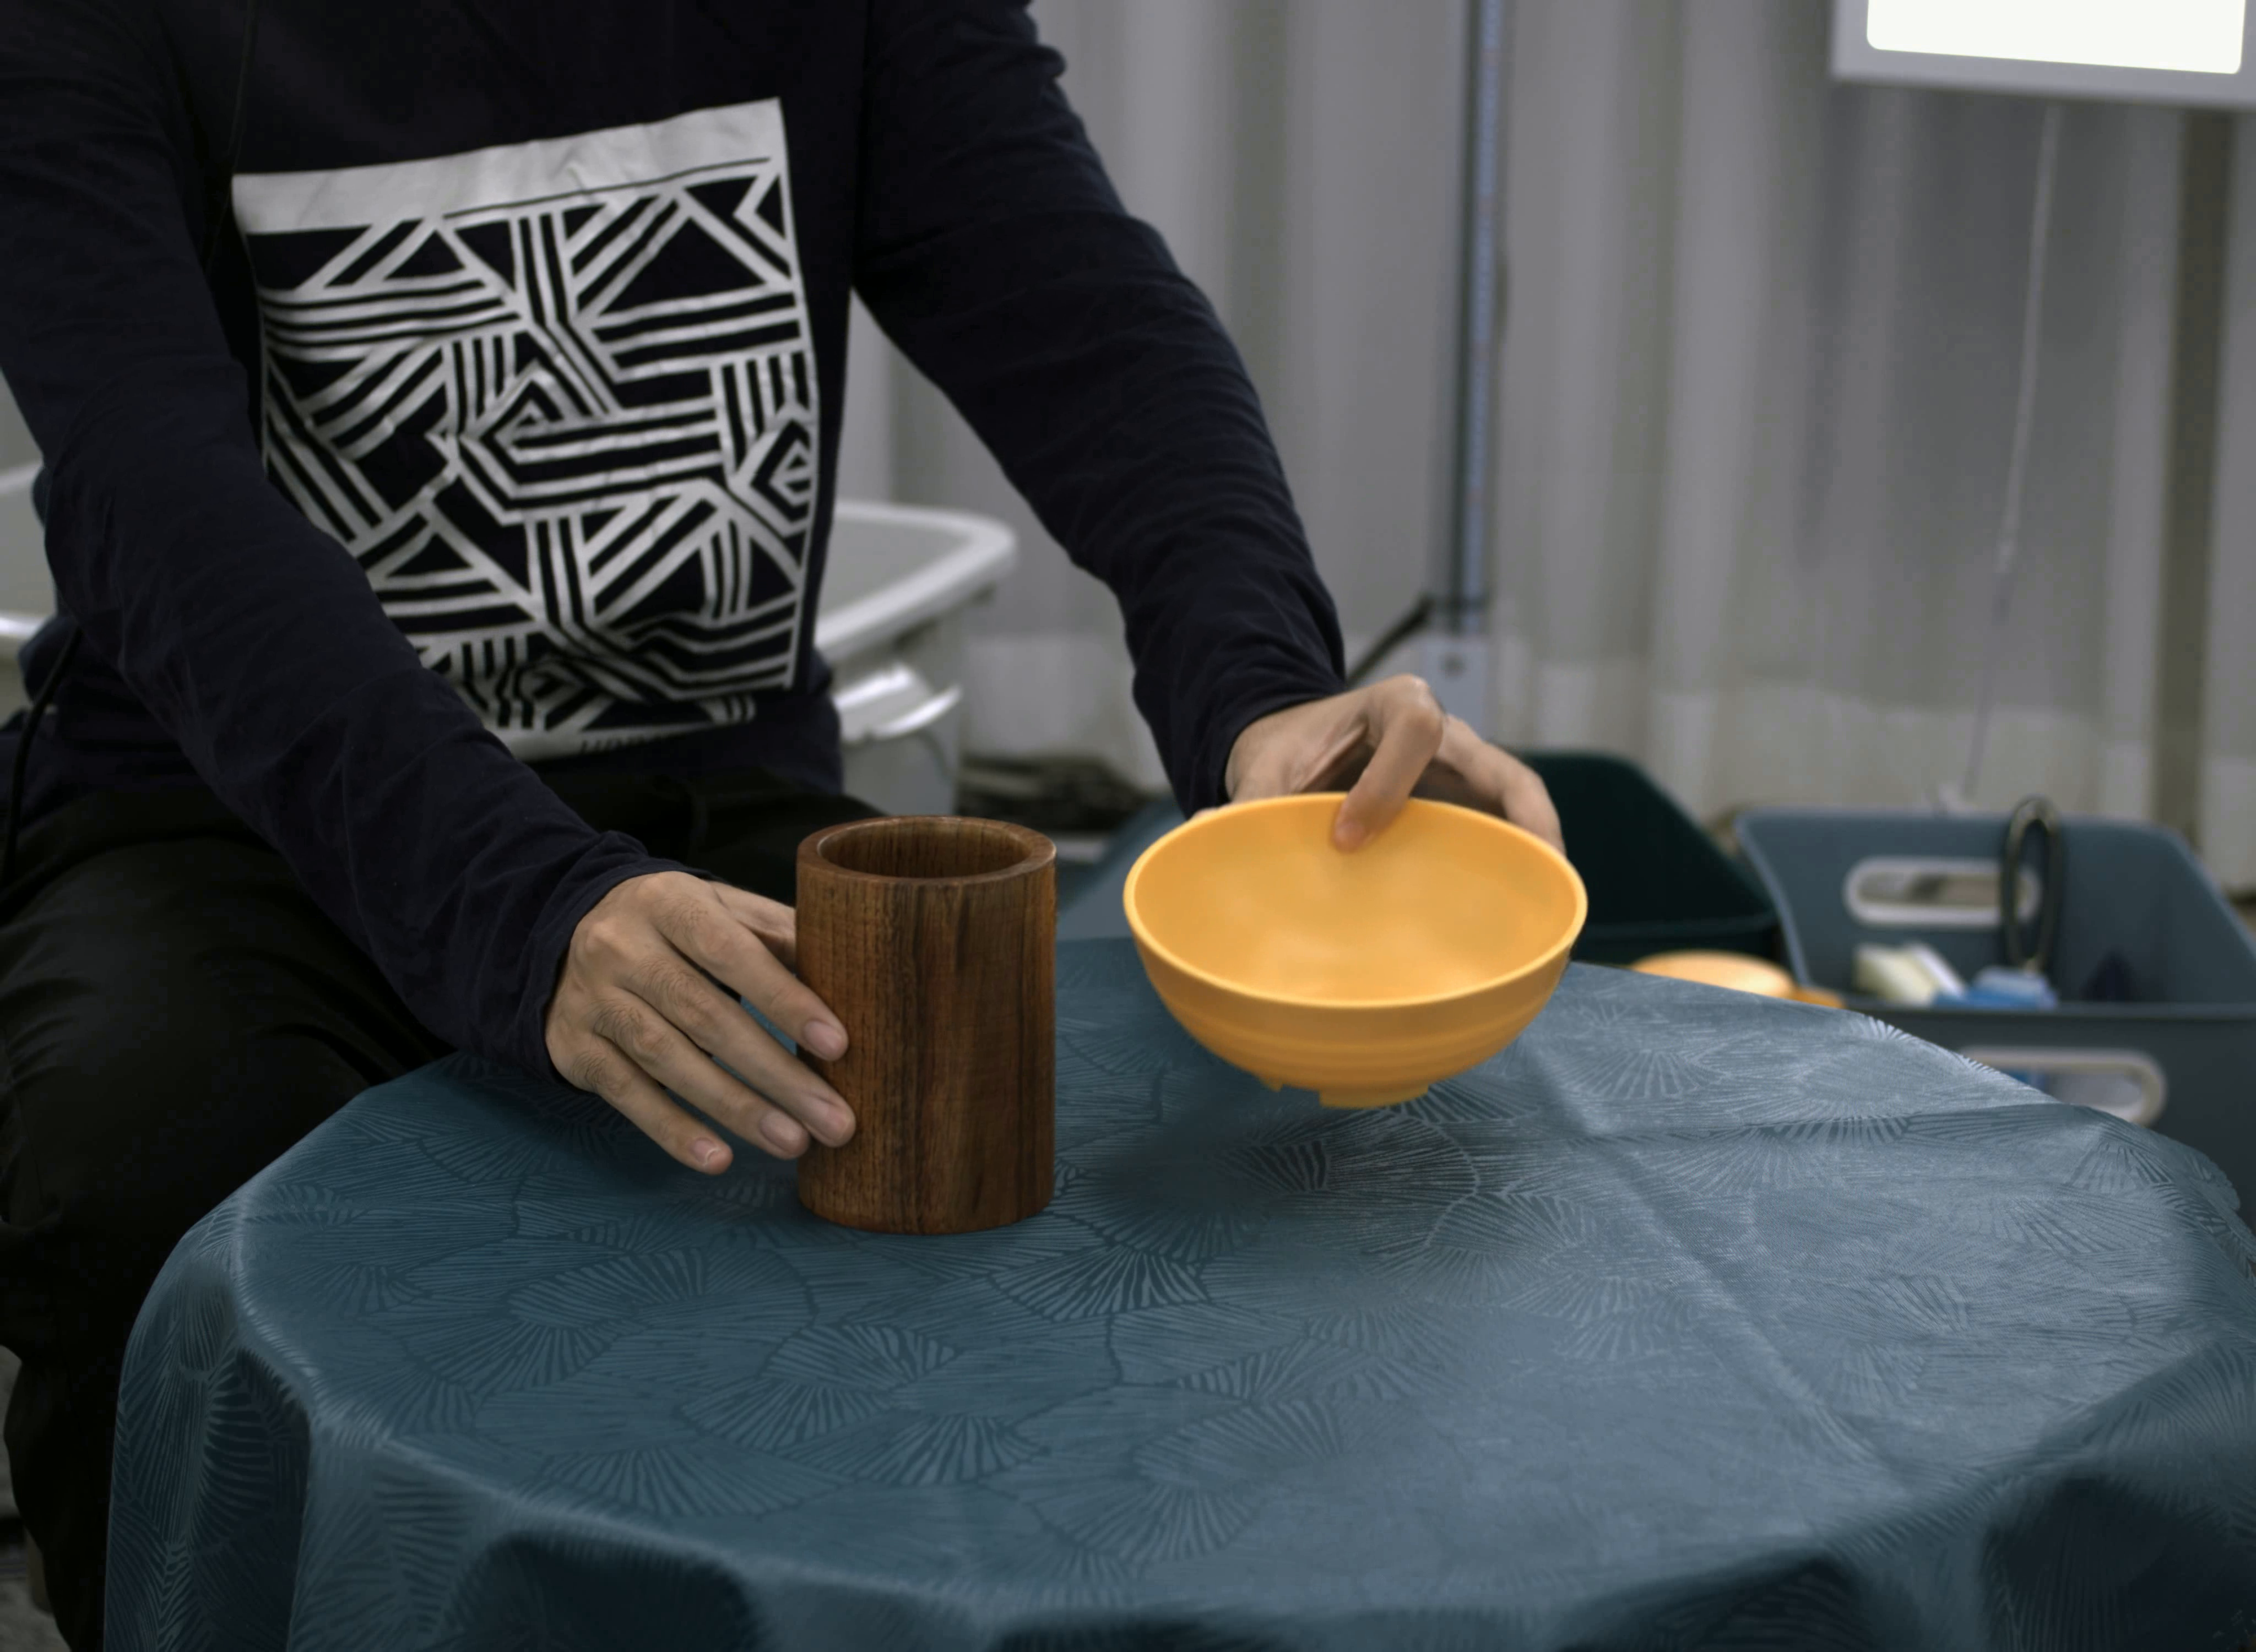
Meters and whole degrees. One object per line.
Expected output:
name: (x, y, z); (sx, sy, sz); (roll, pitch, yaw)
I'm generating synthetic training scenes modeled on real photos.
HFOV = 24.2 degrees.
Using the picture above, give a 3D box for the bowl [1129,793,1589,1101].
bowl: (0.071, 0.045, 1.648); (0.145, 0.061, 0.144); (1, 25, 0)

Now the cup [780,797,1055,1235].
cup: (-0.066, 0.057, 1.604); (0.087, 0.119, 0.087); (4, 14, 0)
